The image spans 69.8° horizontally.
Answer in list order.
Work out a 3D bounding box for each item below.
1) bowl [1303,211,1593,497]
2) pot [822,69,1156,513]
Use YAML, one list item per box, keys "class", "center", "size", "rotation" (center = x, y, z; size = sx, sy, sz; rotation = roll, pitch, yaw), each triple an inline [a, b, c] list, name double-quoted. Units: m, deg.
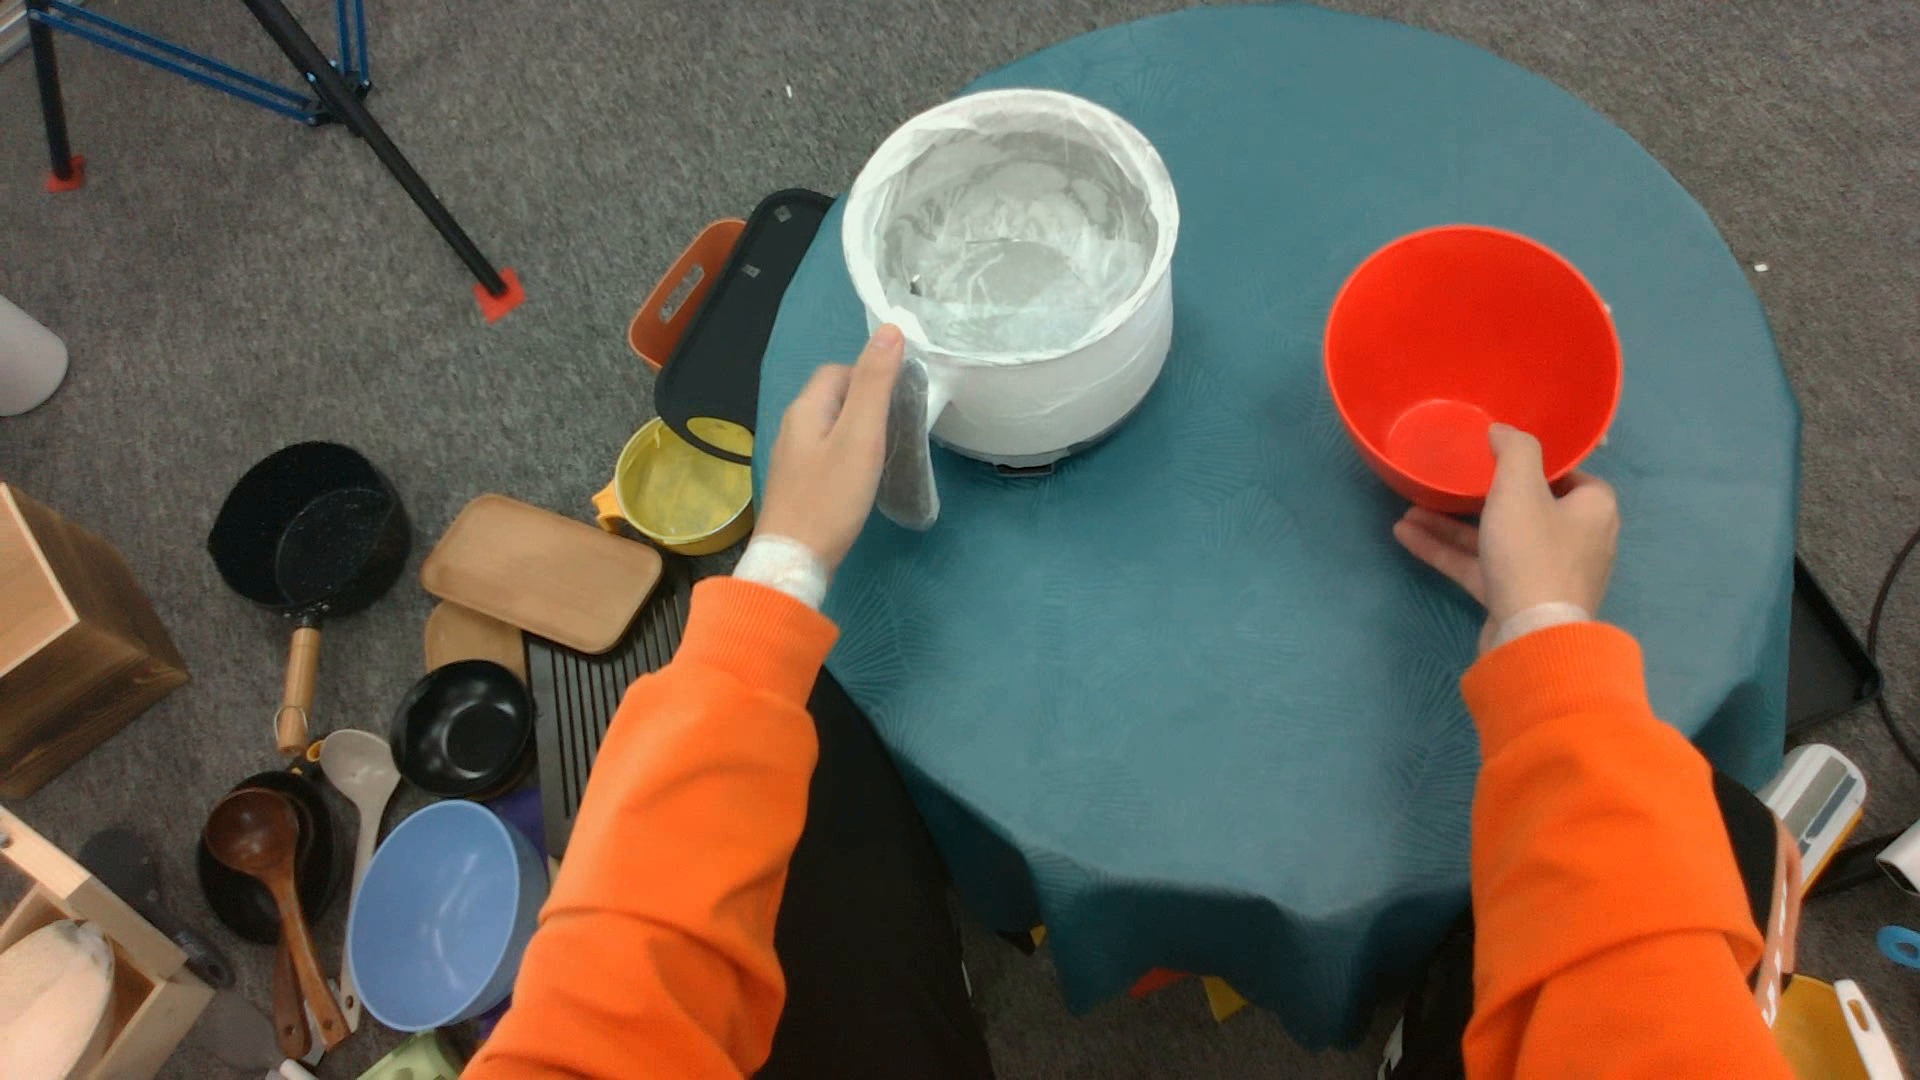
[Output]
- class: "bowl"
  center: [0.256, -0.087, 0.749]
  size: [0.148, 0.104, 0.148]
  rotation: [-2, 68, 5]
- class: "pot"
  center: [0.008, -0.130, 0.770]
  size: [0.178, 0.136, 0.234]
  rotation: [24, 71, 16]
